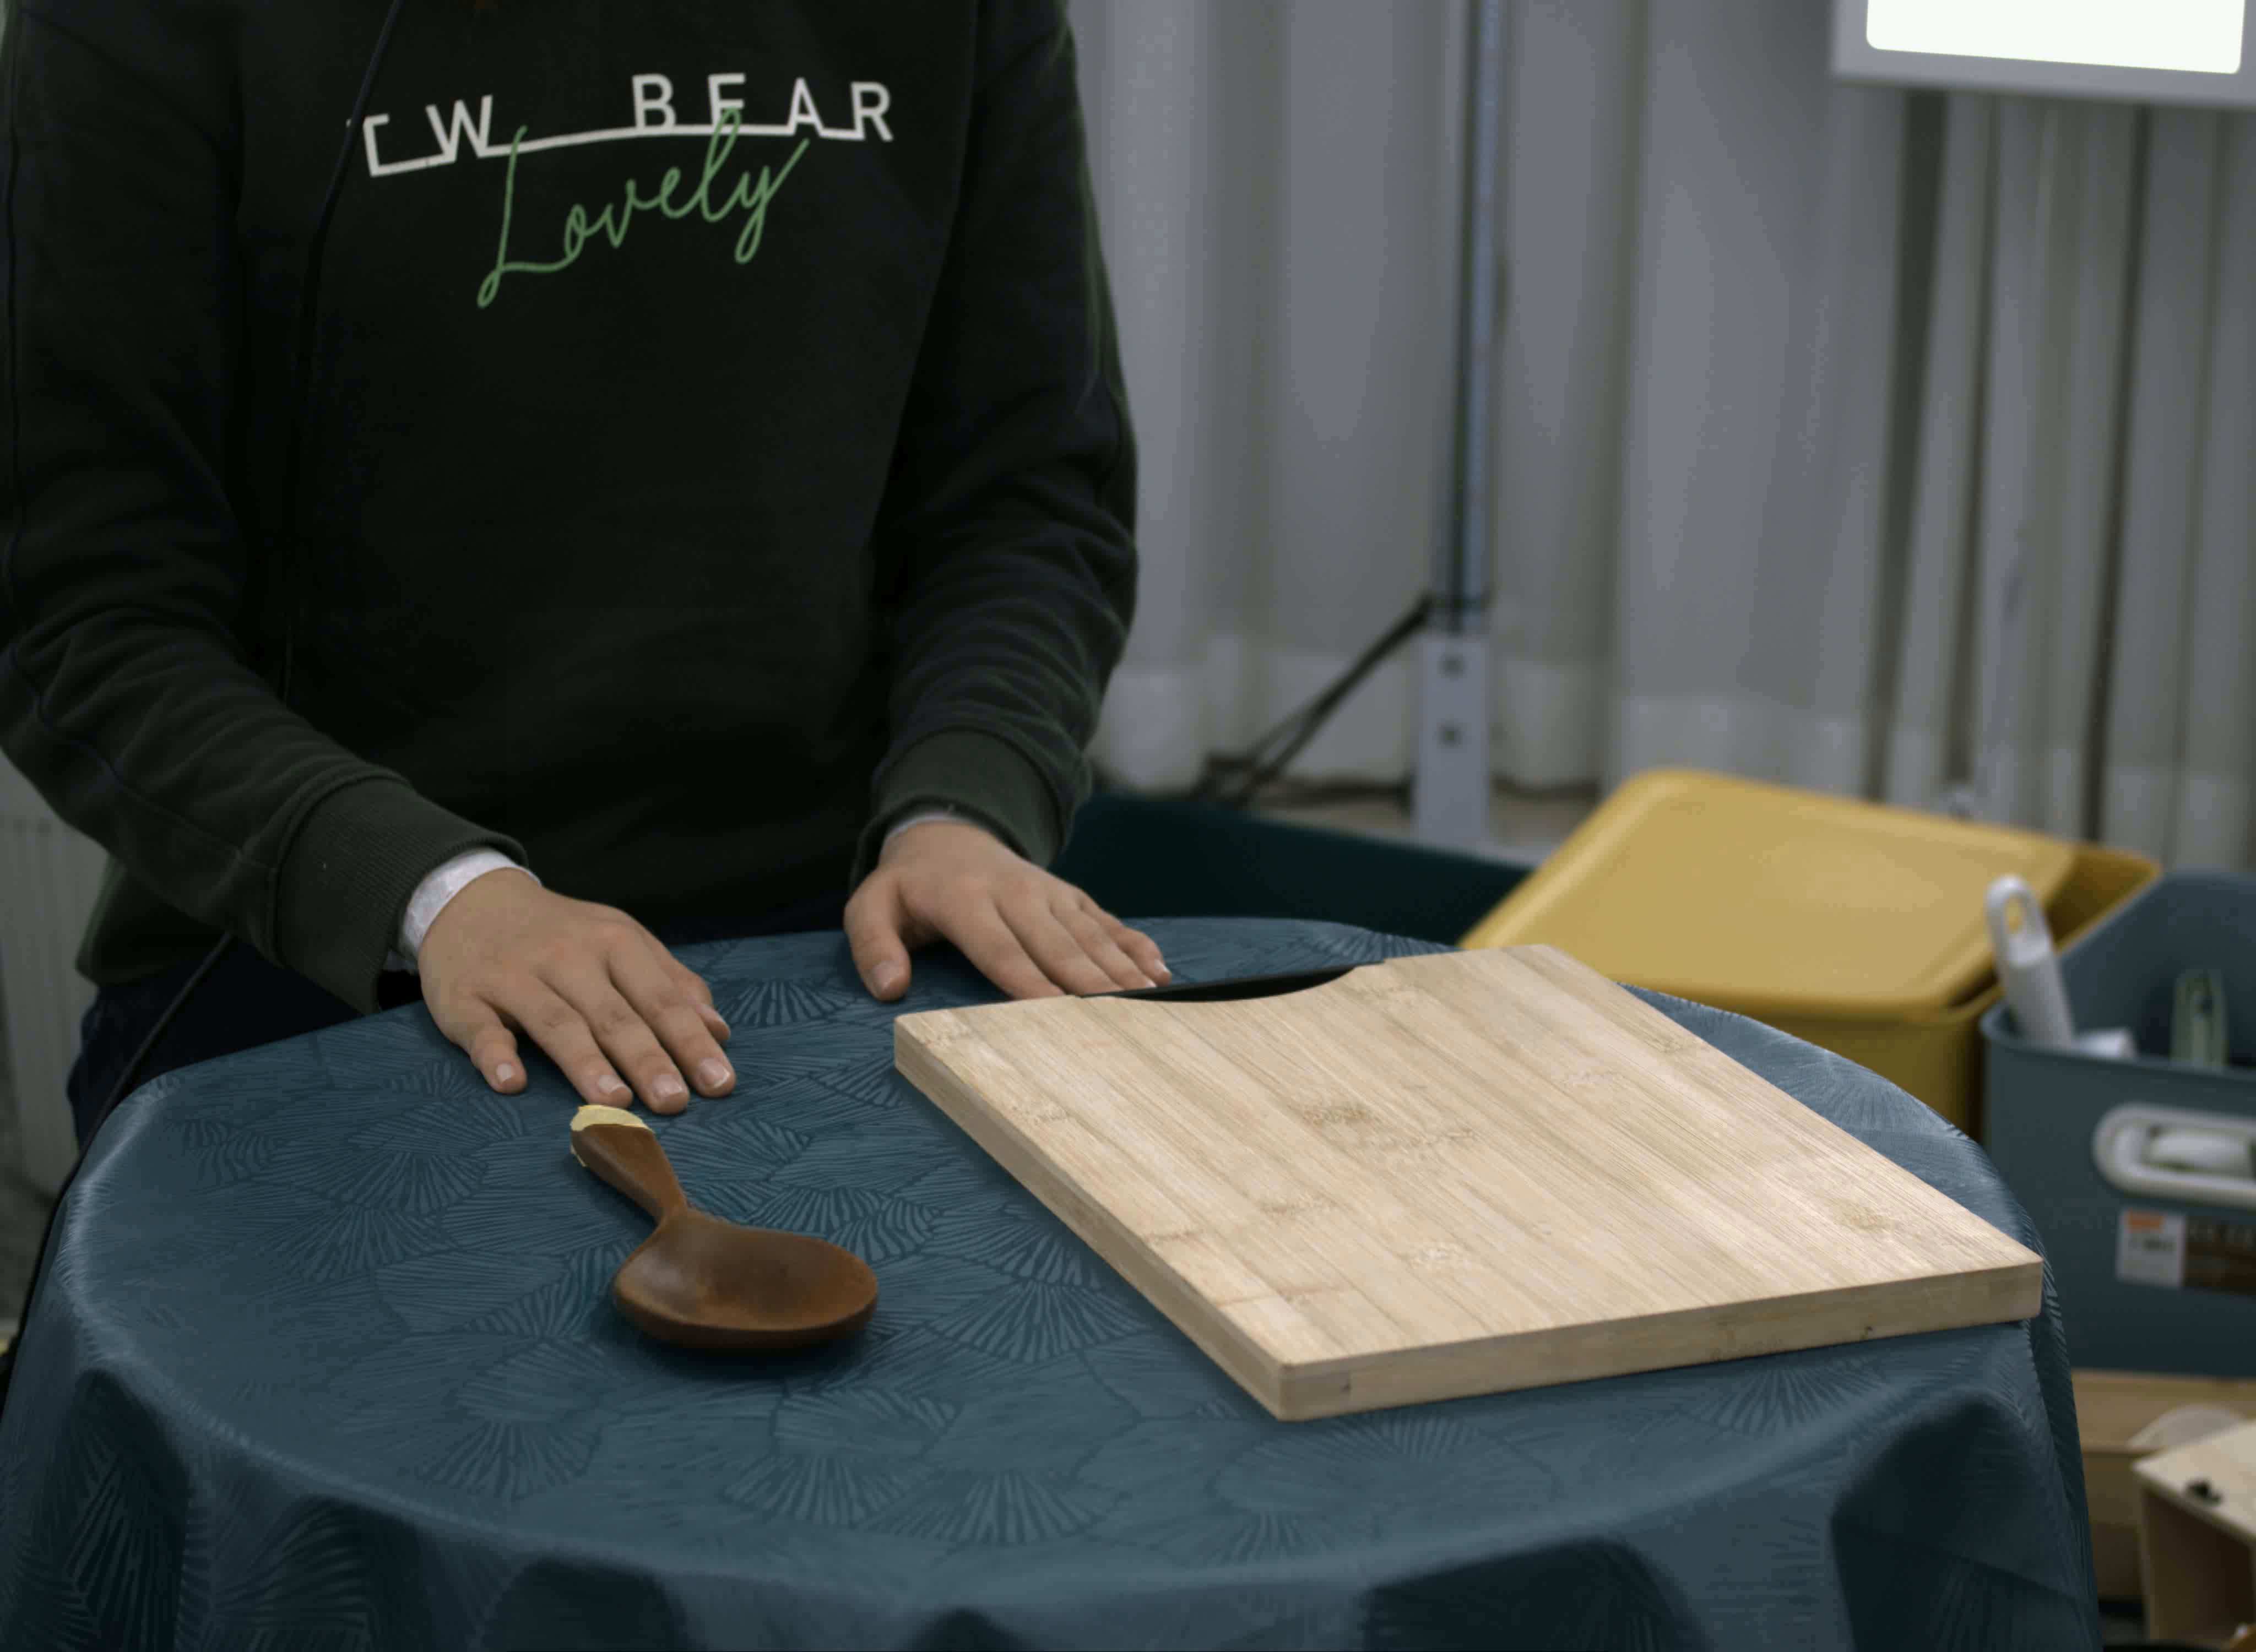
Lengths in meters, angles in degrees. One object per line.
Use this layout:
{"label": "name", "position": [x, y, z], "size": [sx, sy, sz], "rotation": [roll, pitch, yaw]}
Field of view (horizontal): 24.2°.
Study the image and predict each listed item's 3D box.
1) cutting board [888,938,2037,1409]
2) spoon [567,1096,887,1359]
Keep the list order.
{"label": "cutting board", "position": [0.092, 0.102, 1.640], "size": [0.251, 0.024, 0.344], "rotation": [-5, 17, -22]}
{"label": "spoon", "position": [-0.129, 0.120, 1.564], "size": [0.075, 0.017, 0.213], "rotation": [-6, 18, -20]}
